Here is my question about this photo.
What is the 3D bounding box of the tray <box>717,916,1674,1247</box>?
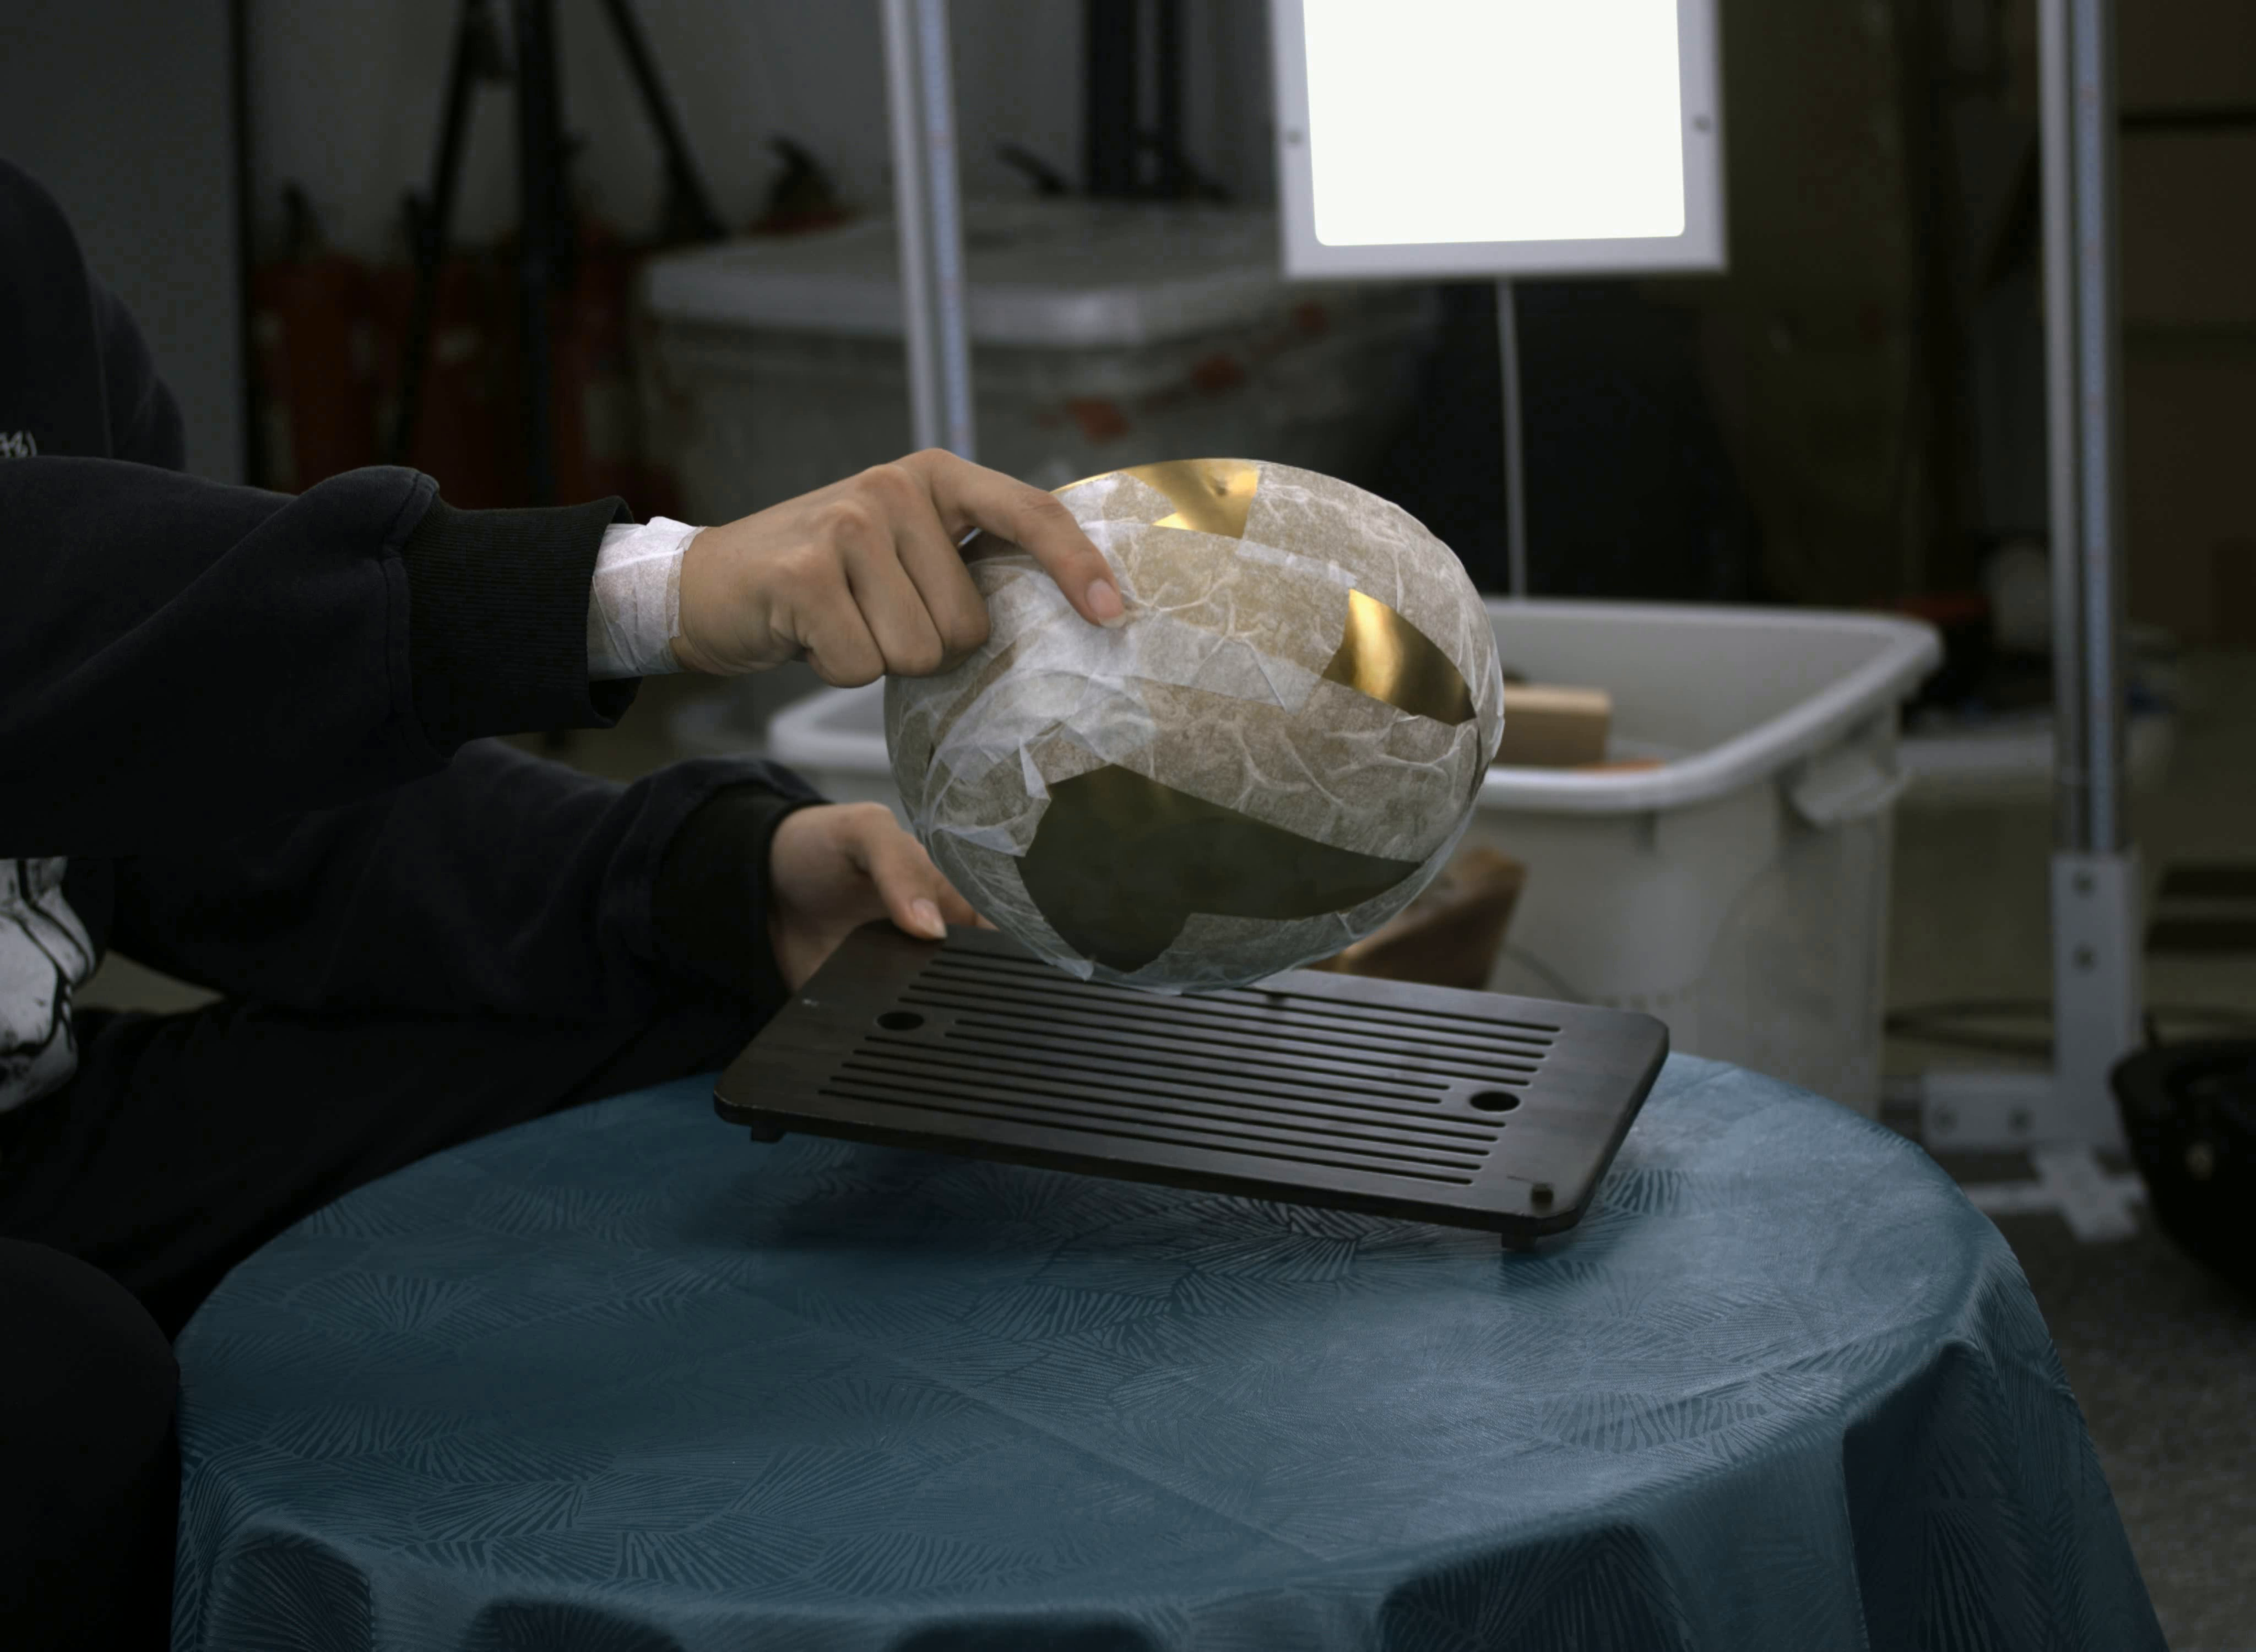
[{"bbox_3d":[0.026,0.087,1.908,0.309,0.019,0.167,7,24,18],"label":"tray"}]

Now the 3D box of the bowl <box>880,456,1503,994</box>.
[{"bbox_3d":[0.021,-0.012,1.762,0.214,0.215,0.094,-4,46,0],"label":"bowl"}]
